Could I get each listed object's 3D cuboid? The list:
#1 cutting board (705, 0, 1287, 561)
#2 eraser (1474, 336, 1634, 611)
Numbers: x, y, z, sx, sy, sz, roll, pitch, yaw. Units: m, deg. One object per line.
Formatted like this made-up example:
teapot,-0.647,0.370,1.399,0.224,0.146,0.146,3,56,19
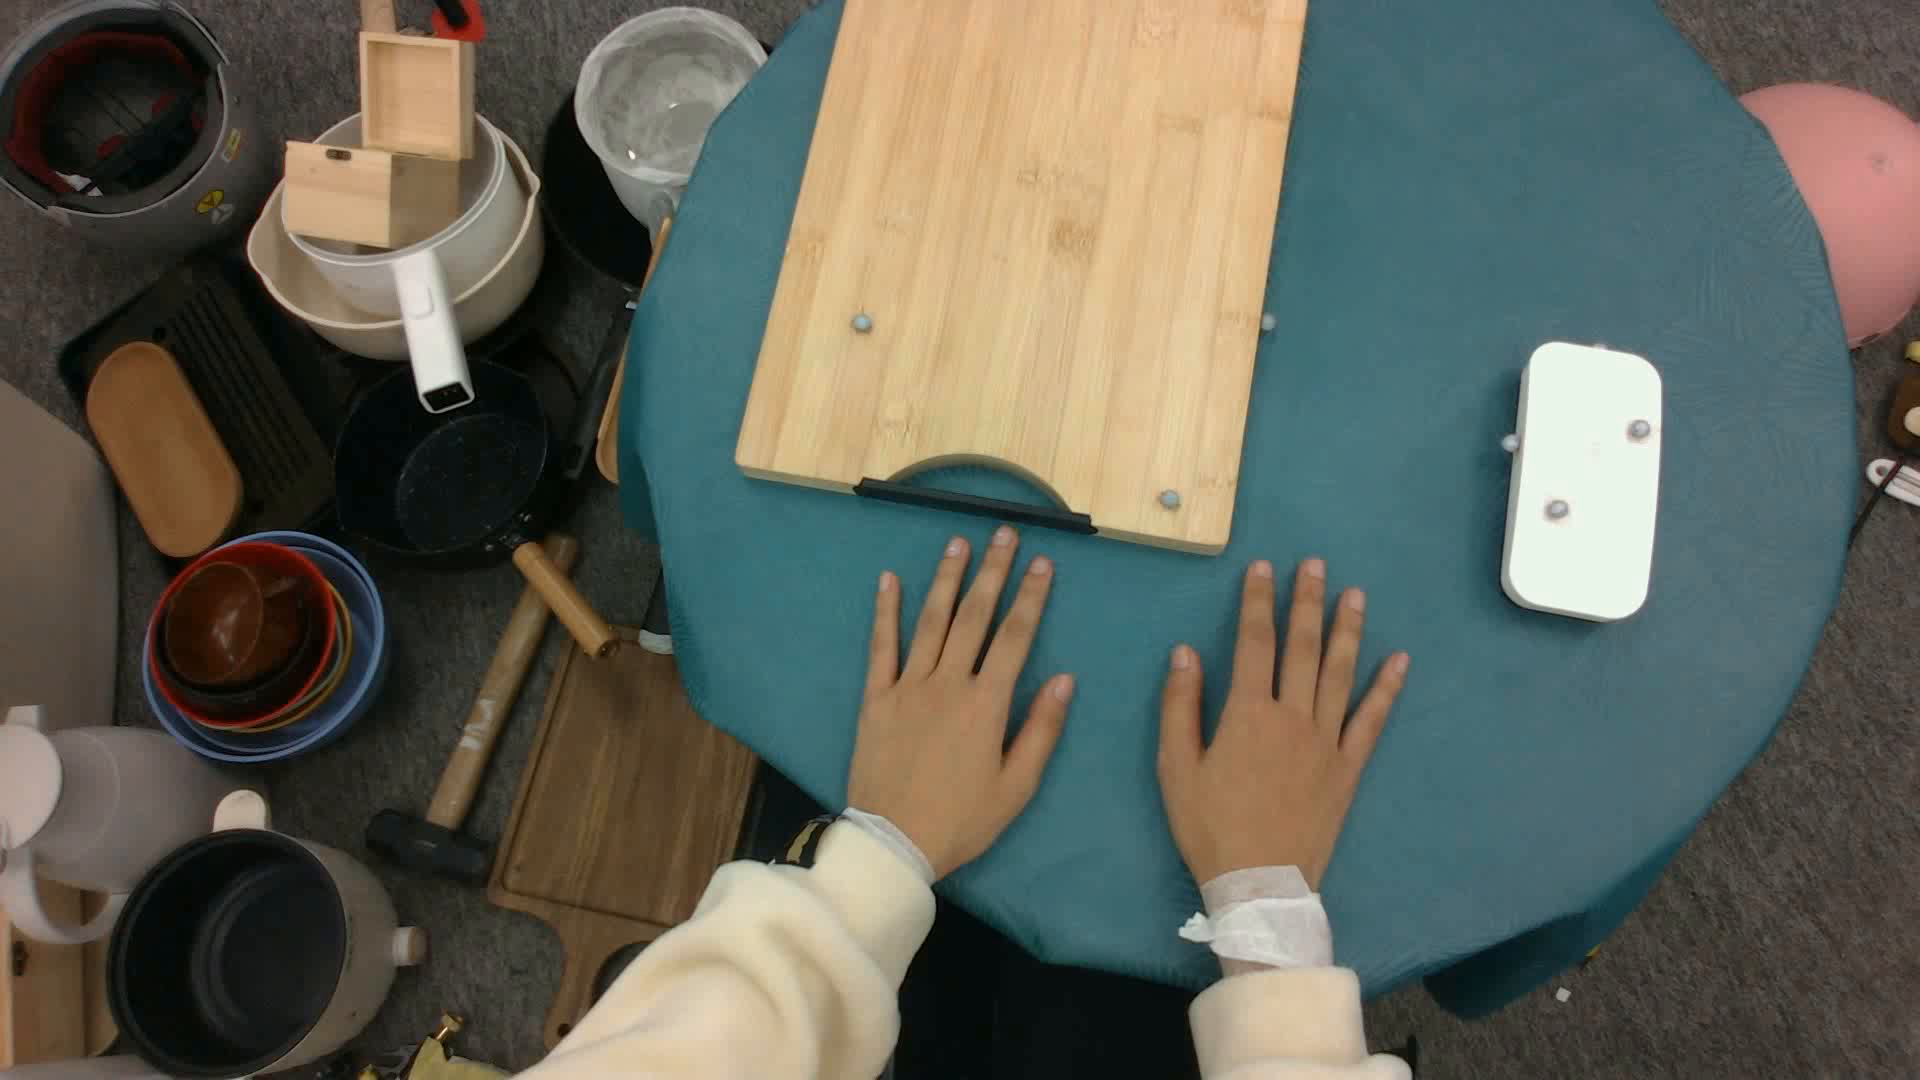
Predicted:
cutting board,0.028,-0.173,0.706,0.250,0.023,0.349,9,73,4
eraser,0.279,-0.033,0.650,0.063,0.034,0.131,12,73,4
